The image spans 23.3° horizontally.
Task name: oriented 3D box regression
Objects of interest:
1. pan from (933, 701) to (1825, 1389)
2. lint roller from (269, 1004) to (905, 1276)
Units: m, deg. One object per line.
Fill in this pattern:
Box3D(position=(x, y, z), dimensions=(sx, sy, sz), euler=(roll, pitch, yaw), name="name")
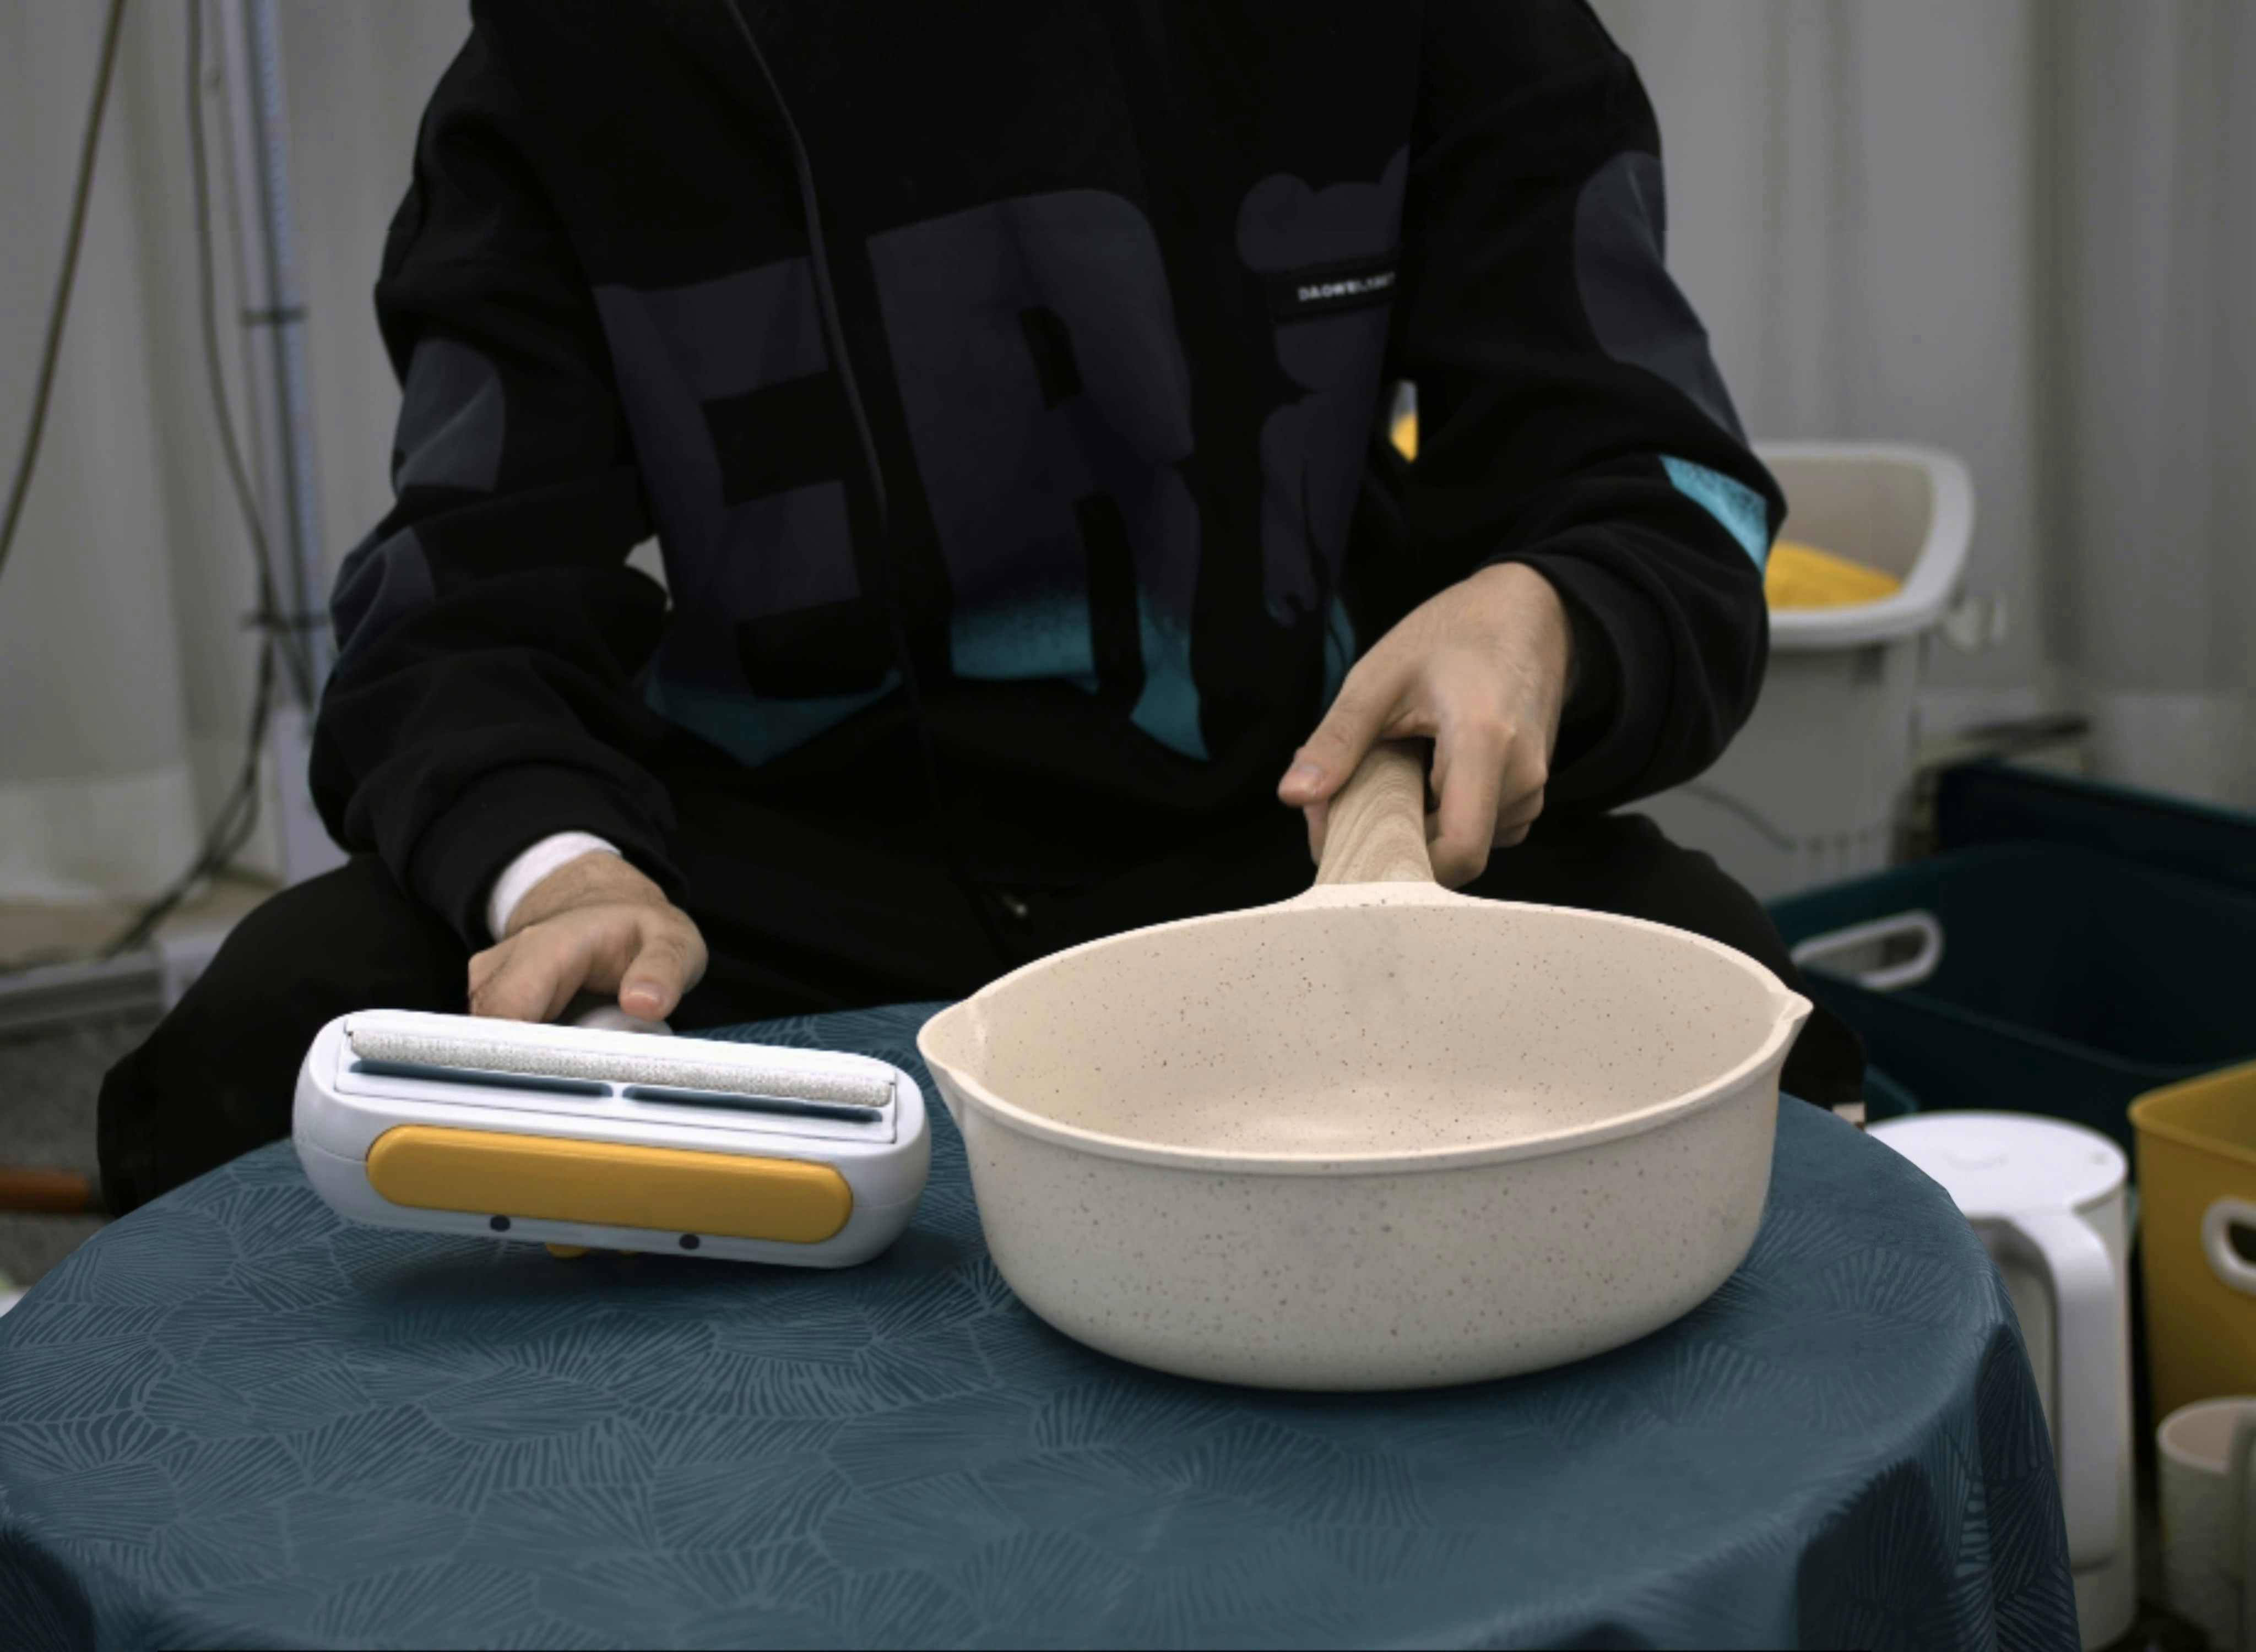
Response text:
Box3D(position=(0.080, 0.063, 1.699), dimensions=(0.262, 0.101, 0.438), euler=(-5, 15, 4), name="pan")
Box3D(position=(-0.164, 0.082, 1.719), dimensions=(0.192, 0.074, 0.194), euler=(3, 19, 0), name="lint roller")
